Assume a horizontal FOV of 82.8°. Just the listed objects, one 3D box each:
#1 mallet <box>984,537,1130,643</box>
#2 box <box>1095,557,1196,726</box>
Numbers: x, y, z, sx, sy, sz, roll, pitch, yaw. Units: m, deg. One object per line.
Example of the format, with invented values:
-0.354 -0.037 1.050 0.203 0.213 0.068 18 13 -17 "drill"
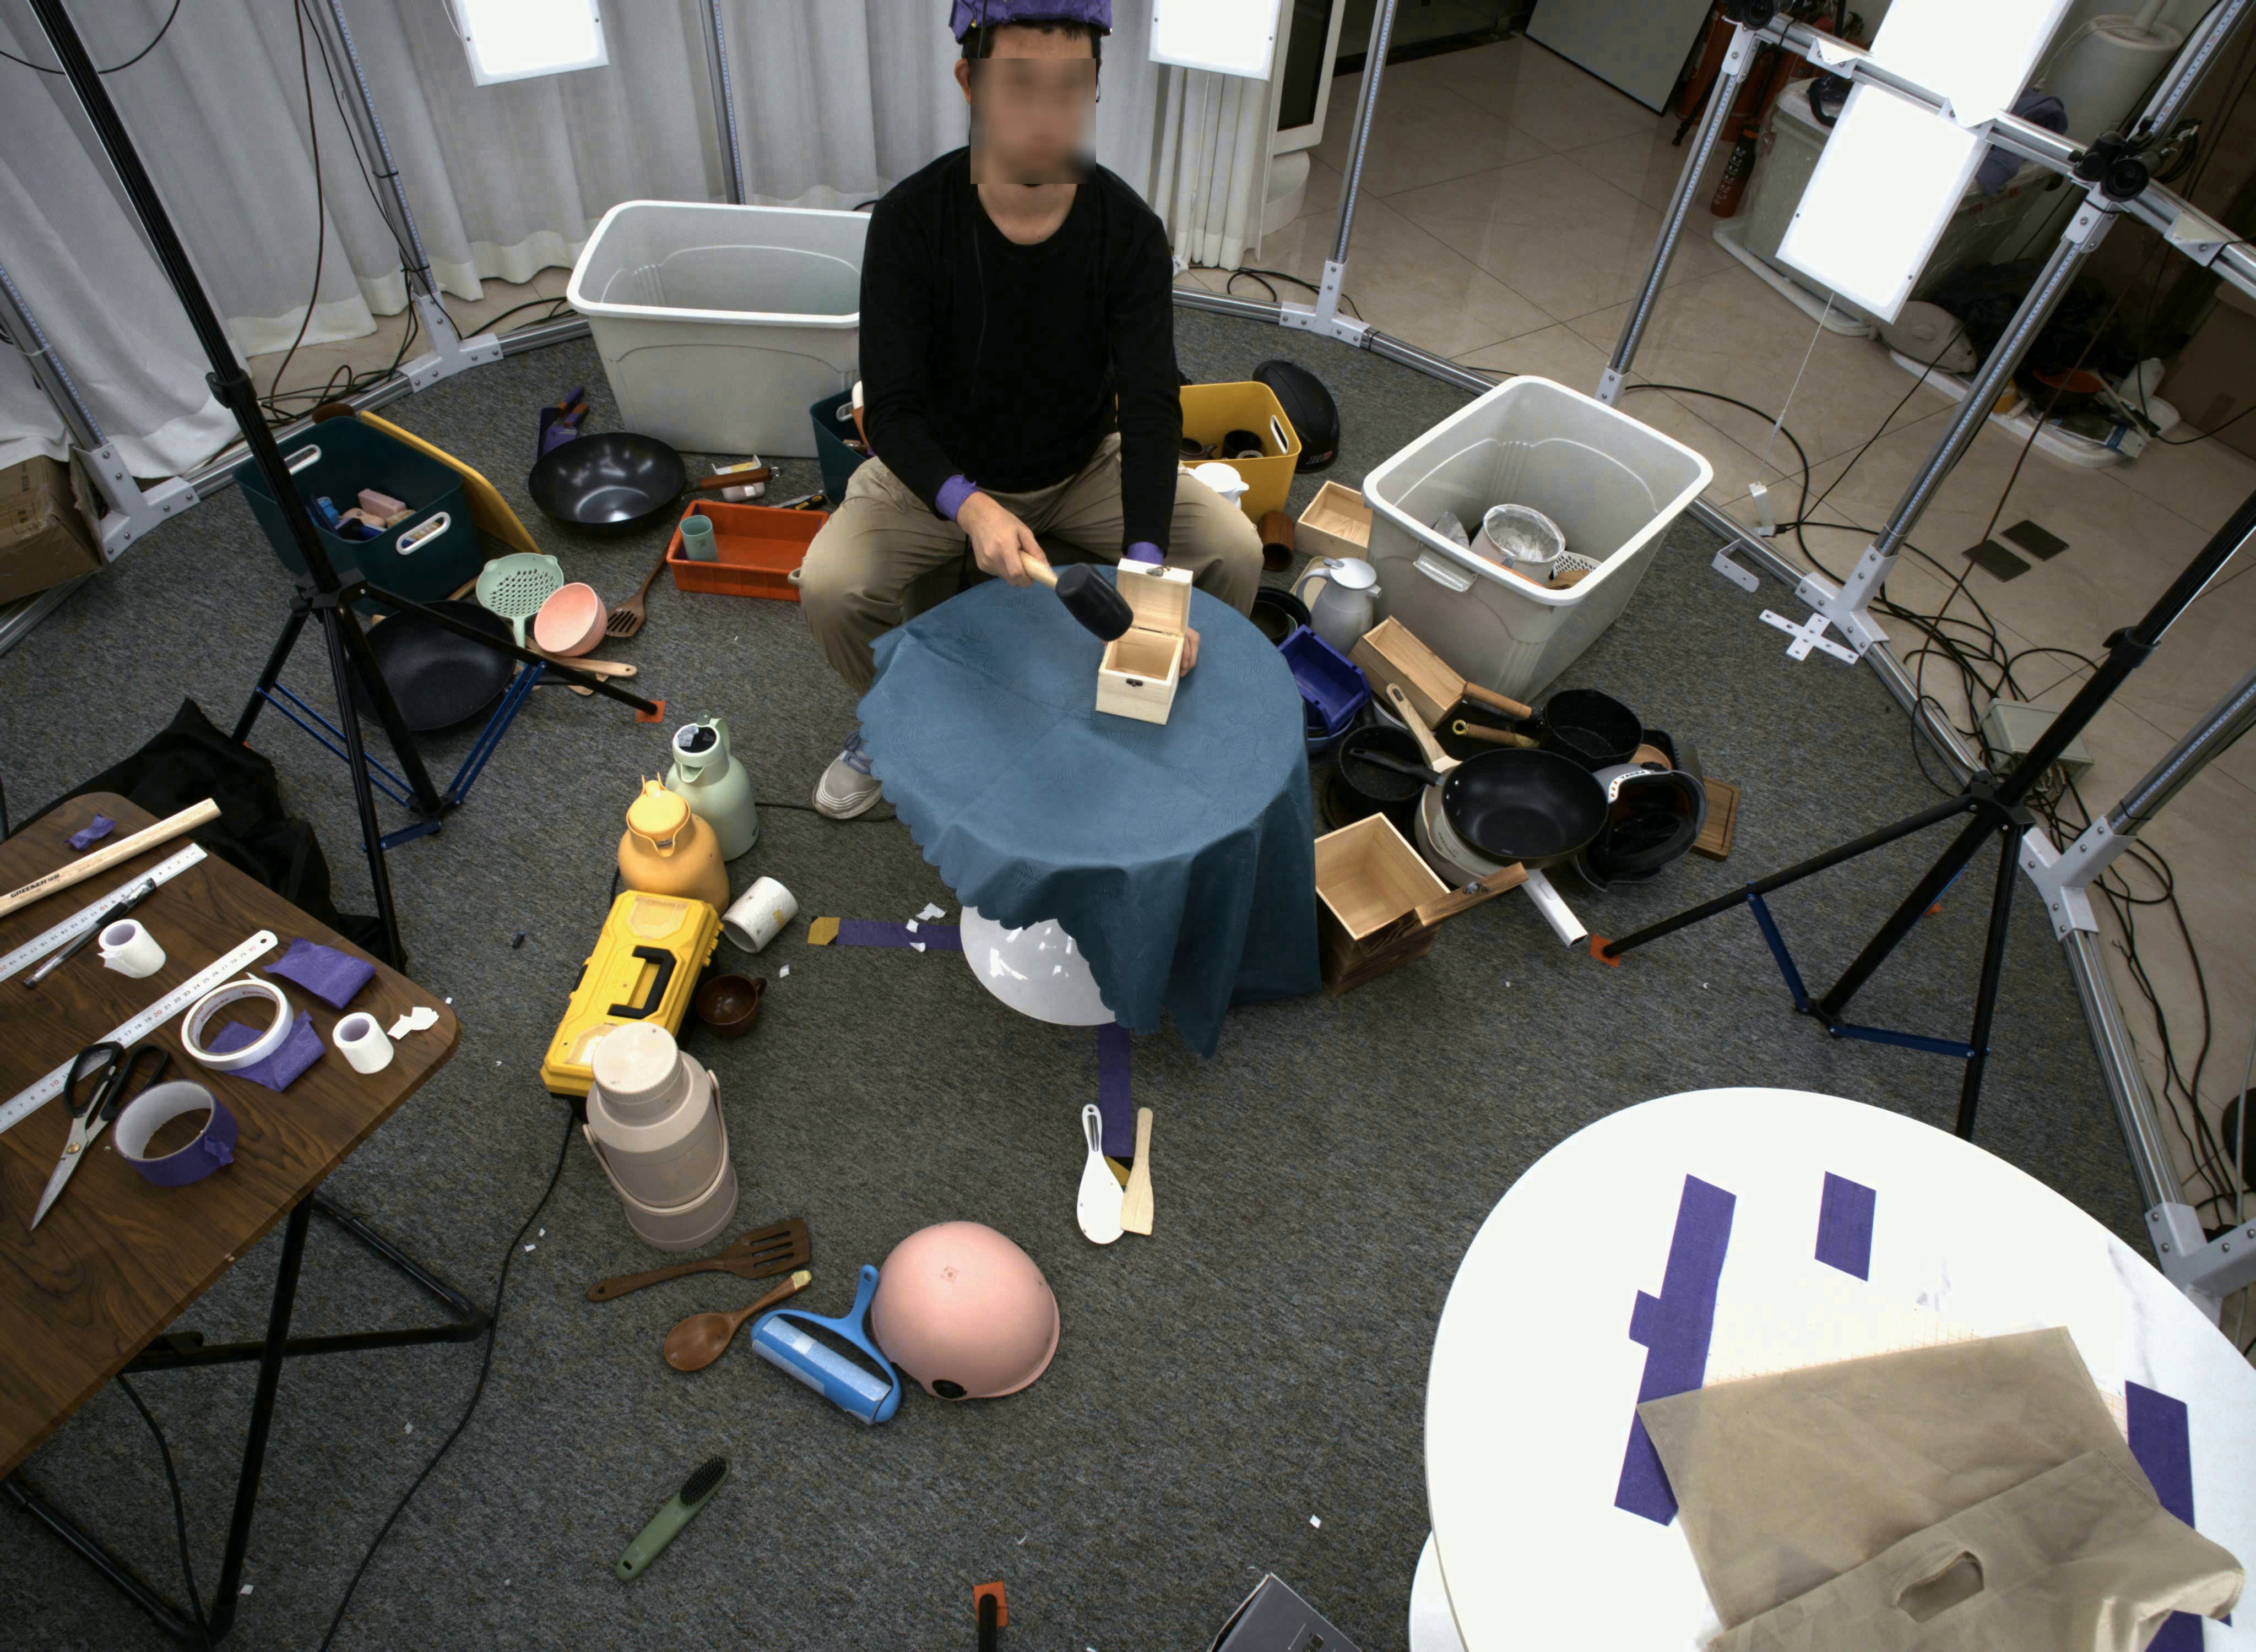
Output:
-0.109 -0.345 1.743 0.064 0.100 0.345 -44 38 -2 "mallet"
0.023 -0.254 1.775 0.103 0.180 0.137 13 47 6 "box"
